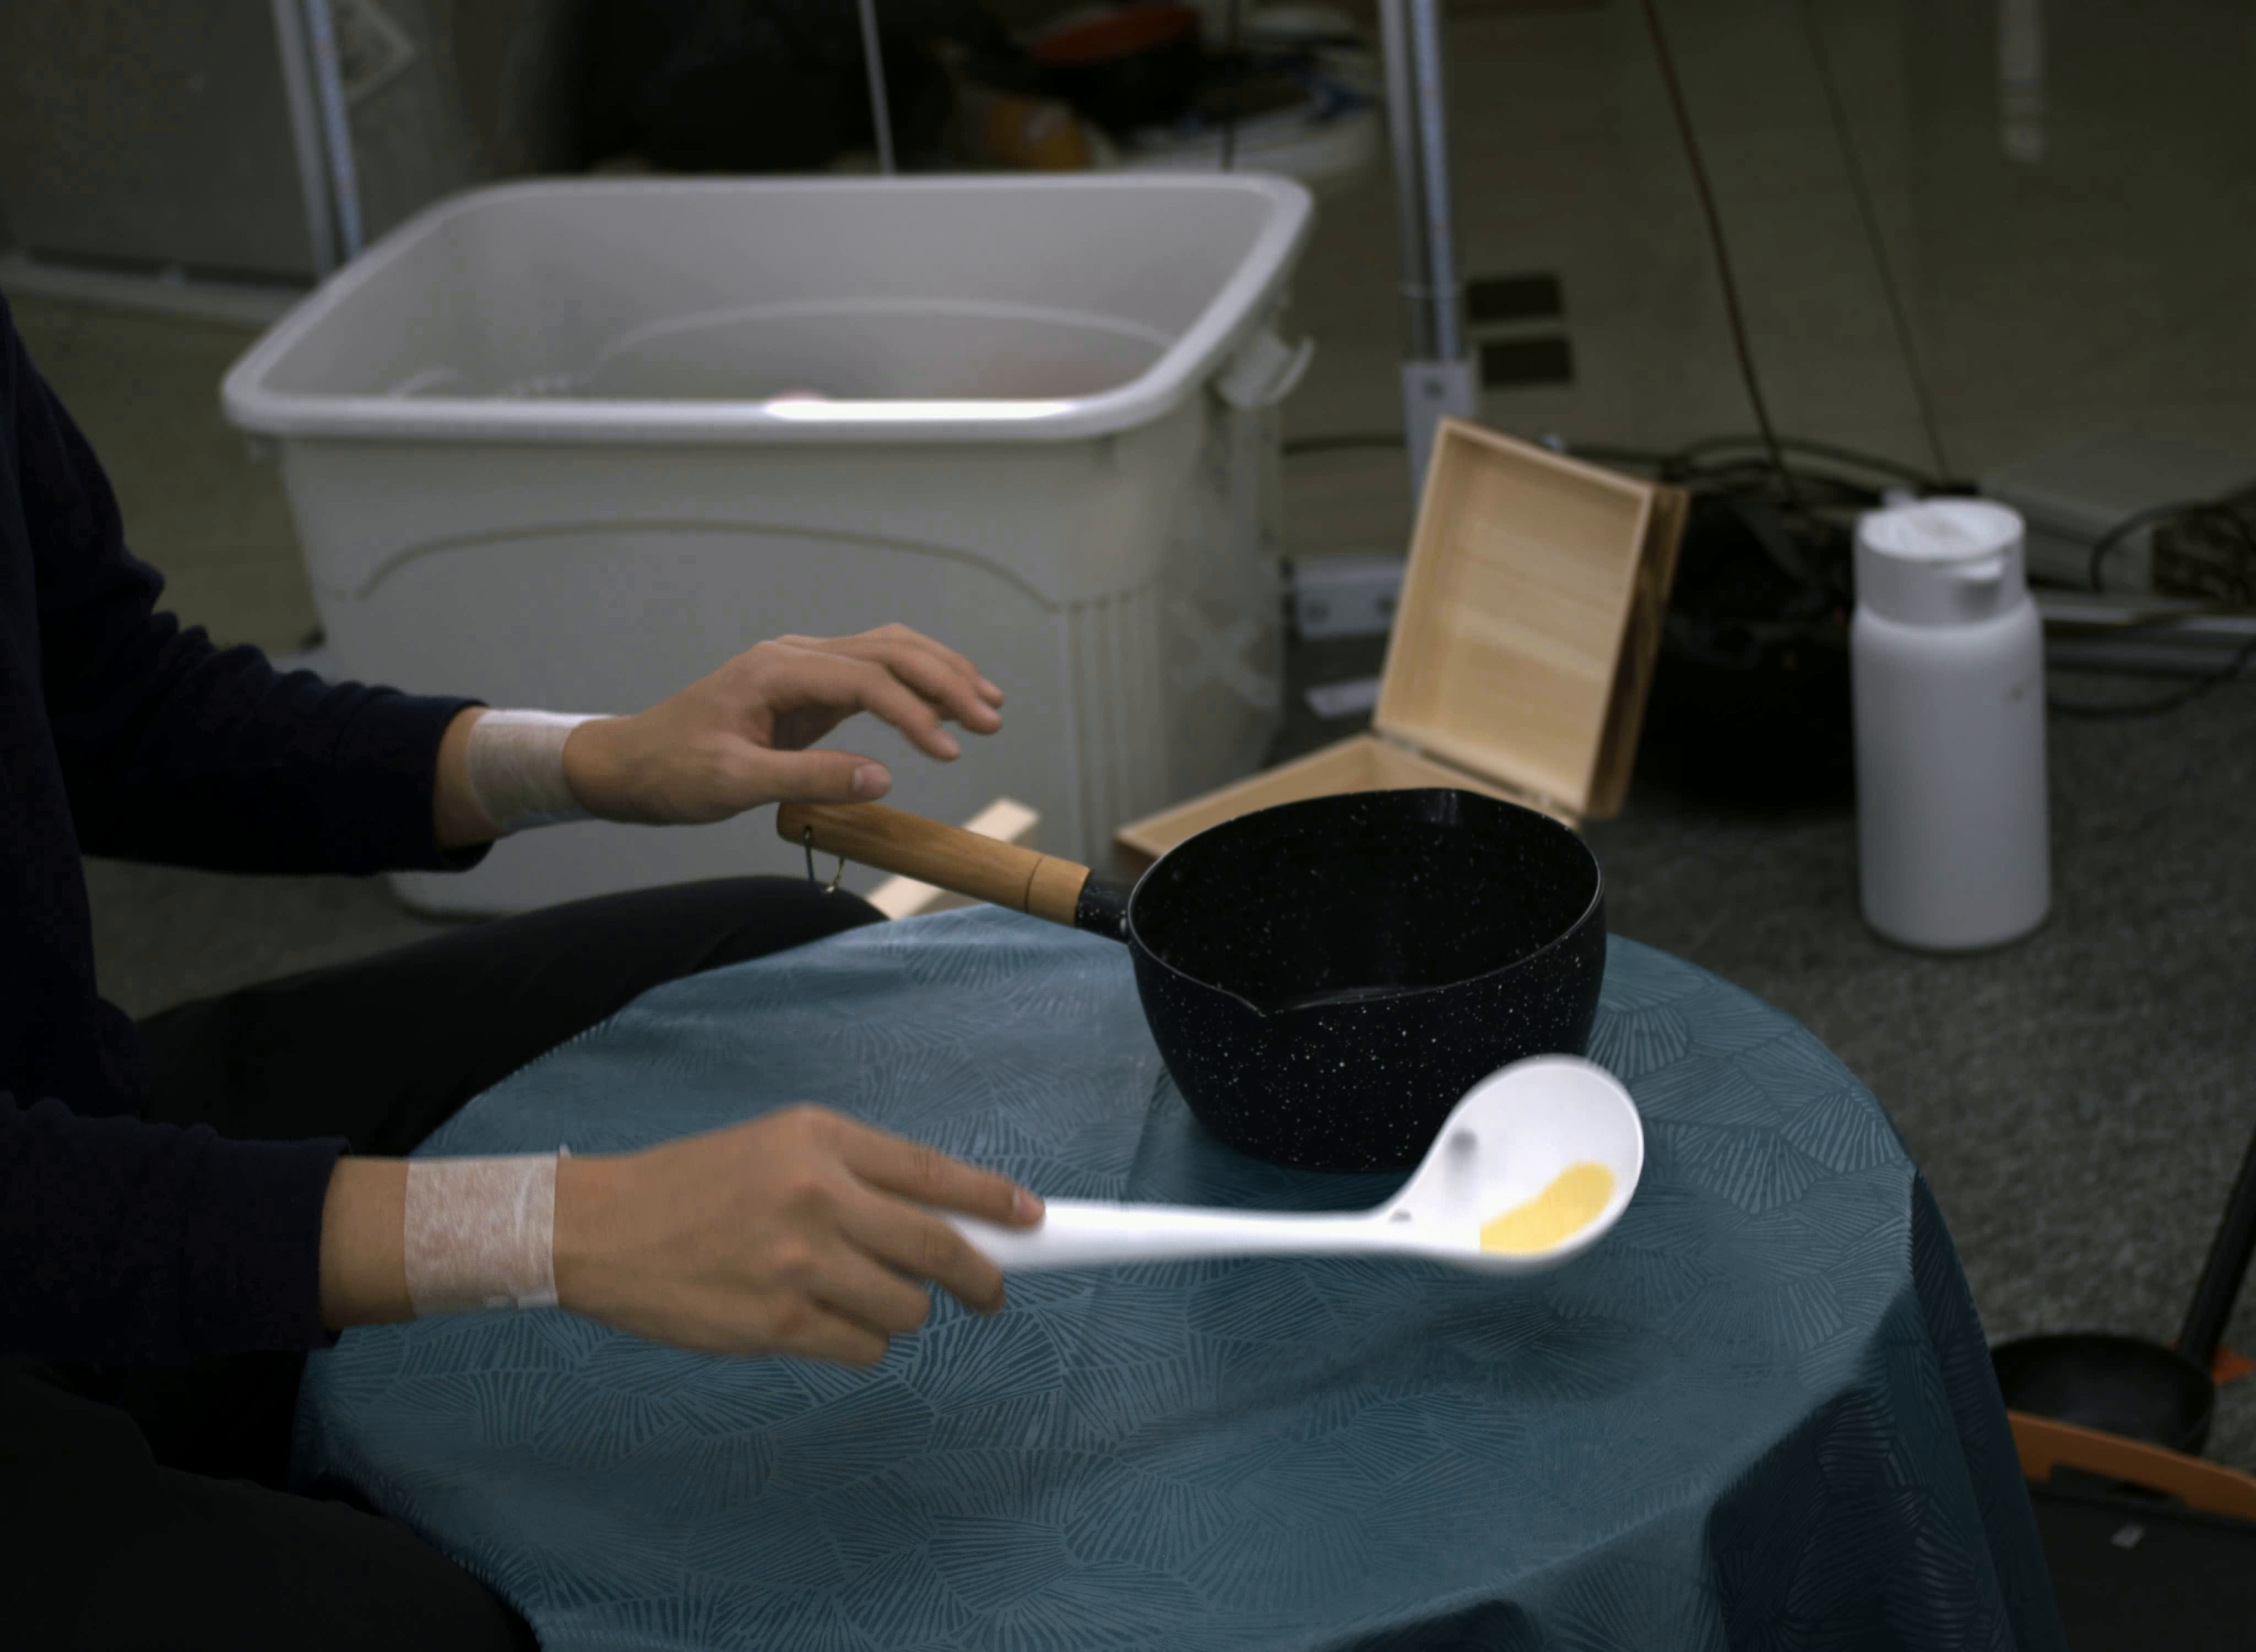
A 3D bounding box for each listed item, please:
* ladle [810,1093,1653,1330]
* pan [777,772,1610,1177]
[{"bbox_3d":[0.037,0.139,1.964,0.292,0.071,0.088,-1,45,-19],"label":"ladle"},{"bbox_3d":[0.021,0.046,2.211,0.341,0.110,0.204,6,29,21],"label":"pan"}]
